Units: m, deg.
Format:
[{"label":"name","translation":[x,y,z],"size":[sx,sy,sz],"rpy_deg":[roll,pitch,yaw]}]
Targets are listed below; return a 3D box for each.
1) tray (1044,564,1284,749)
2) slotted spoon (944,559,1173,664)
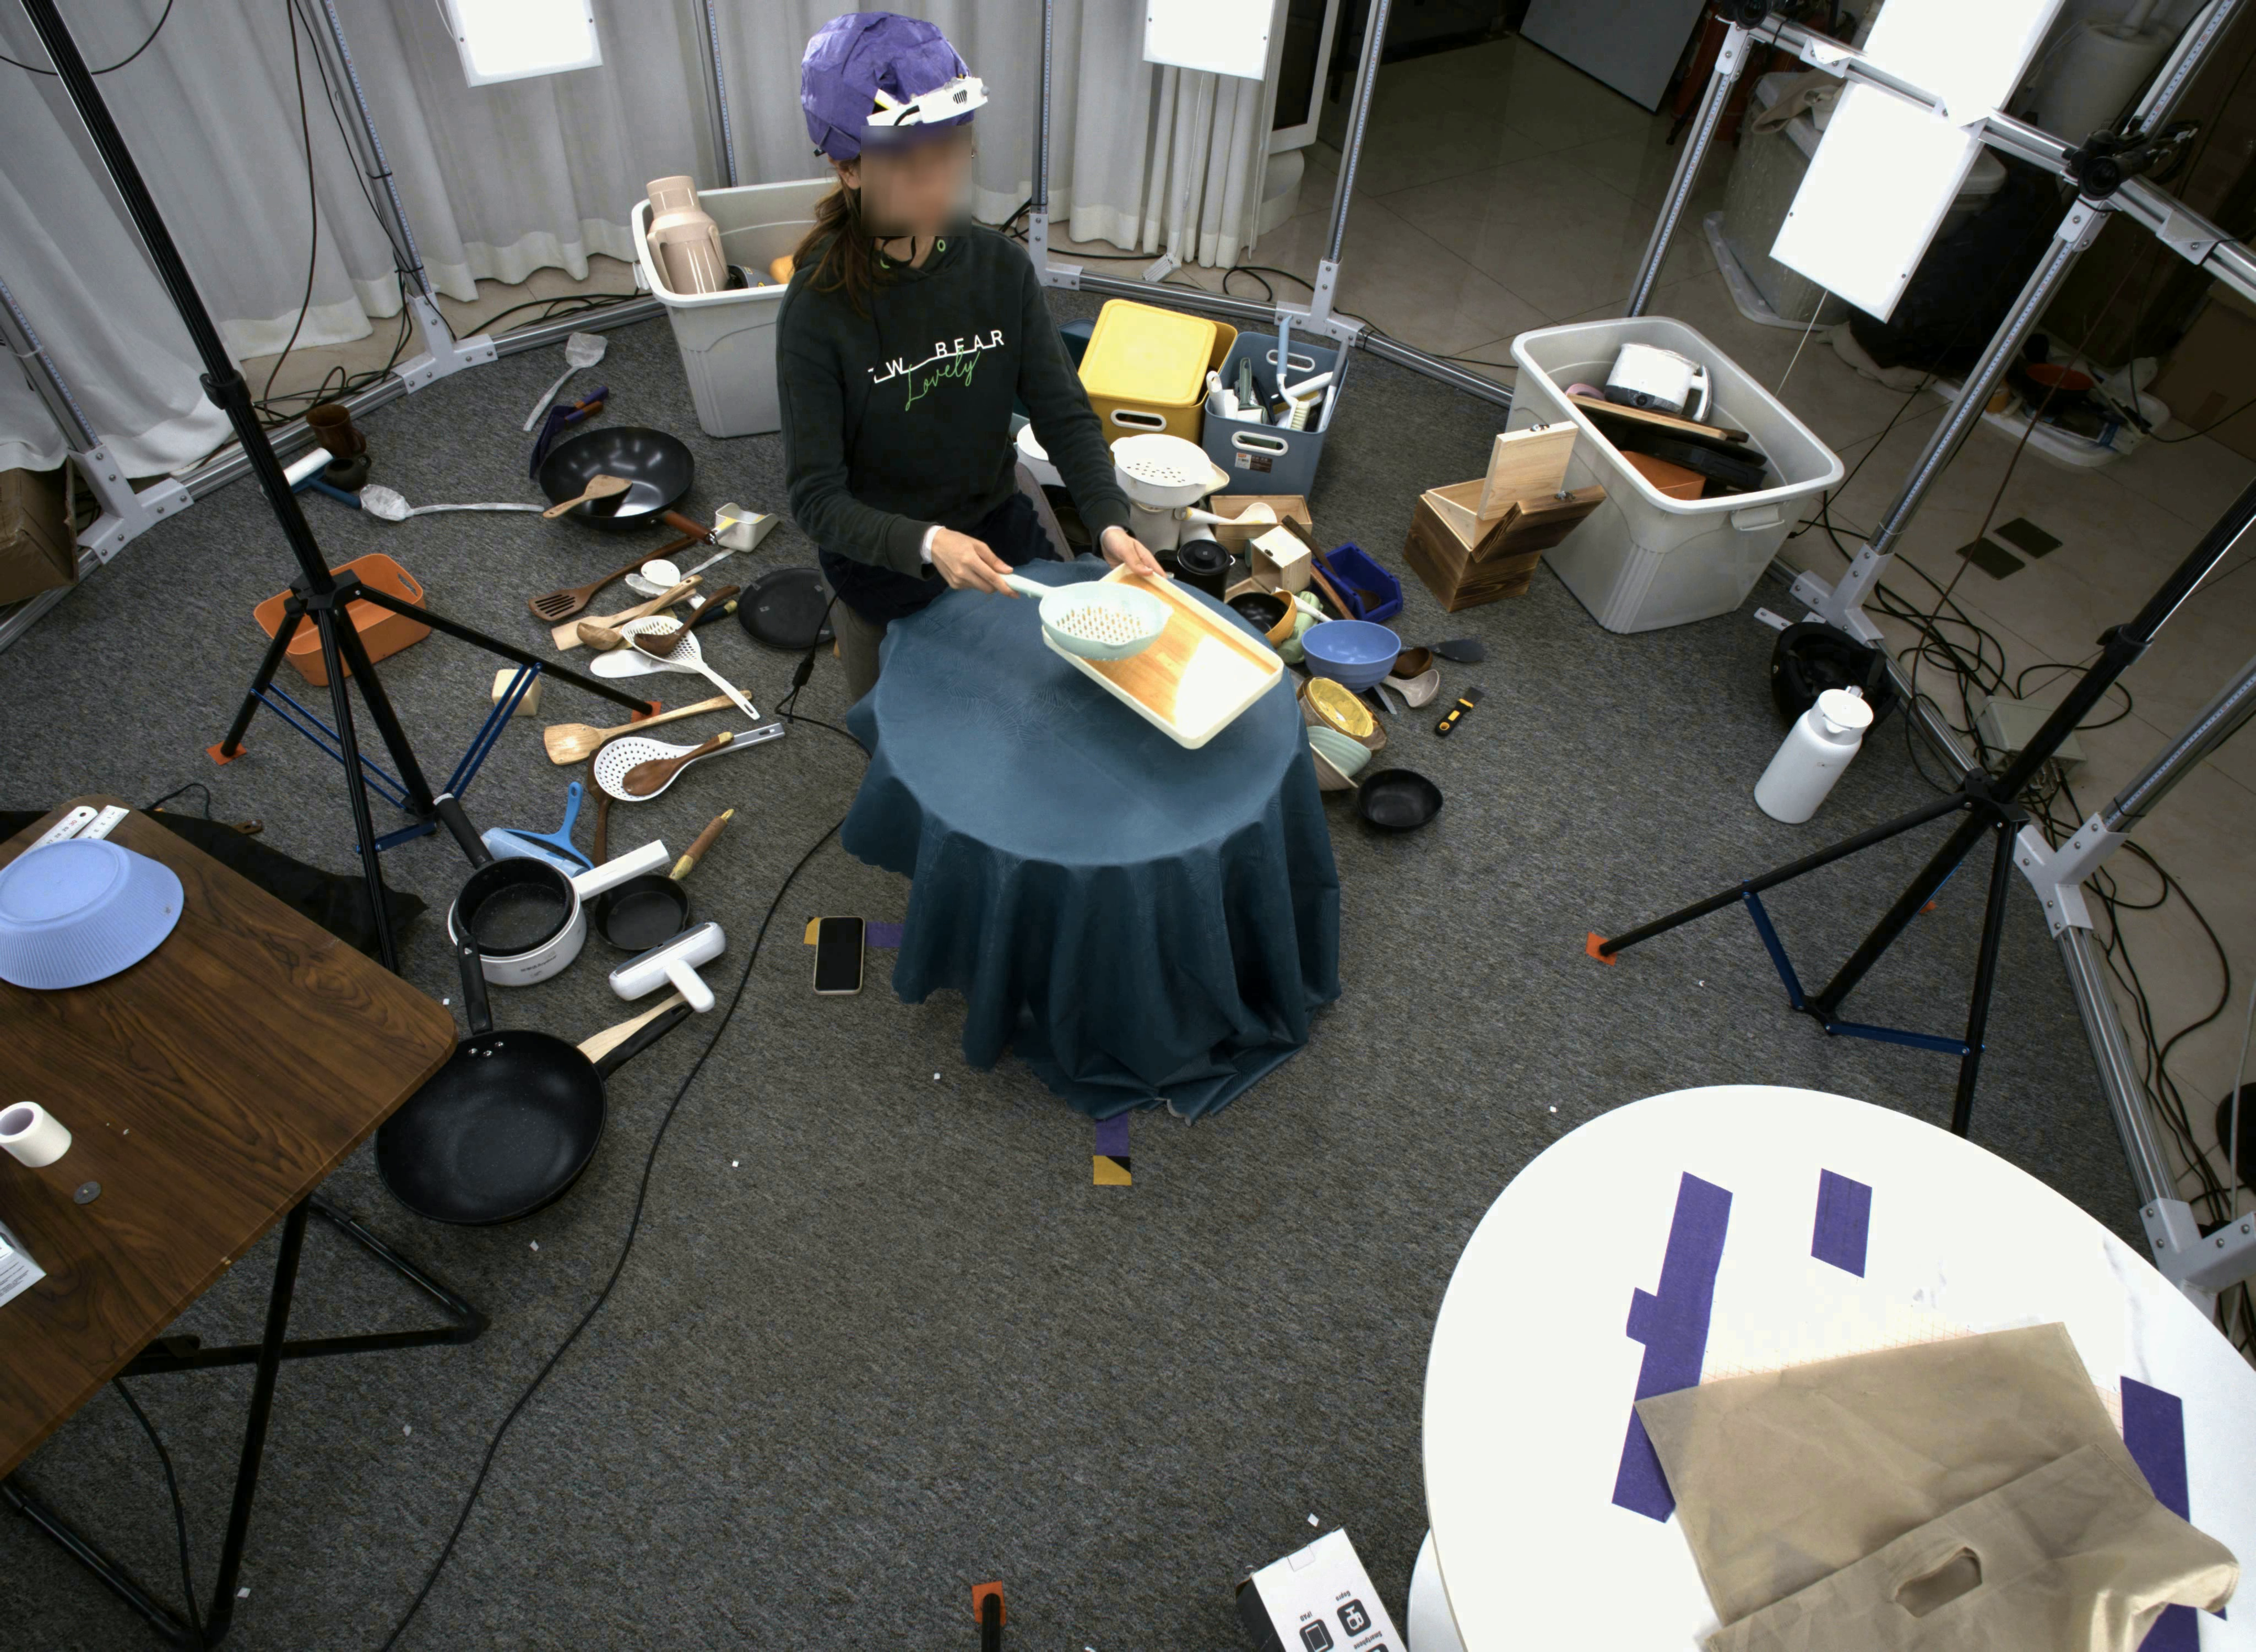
[{"label":"tray","translation":[0.047,-0.241,1.781],"size":[0.193,0.027,0.305],"rpy_deg":[-39,61,-23]},{"label":"slotted spoon","translation":[-0.112,-0.308,1.753],"size":[0.363,0.074,0.171],"rpy_deg":[31,42,22]}]
